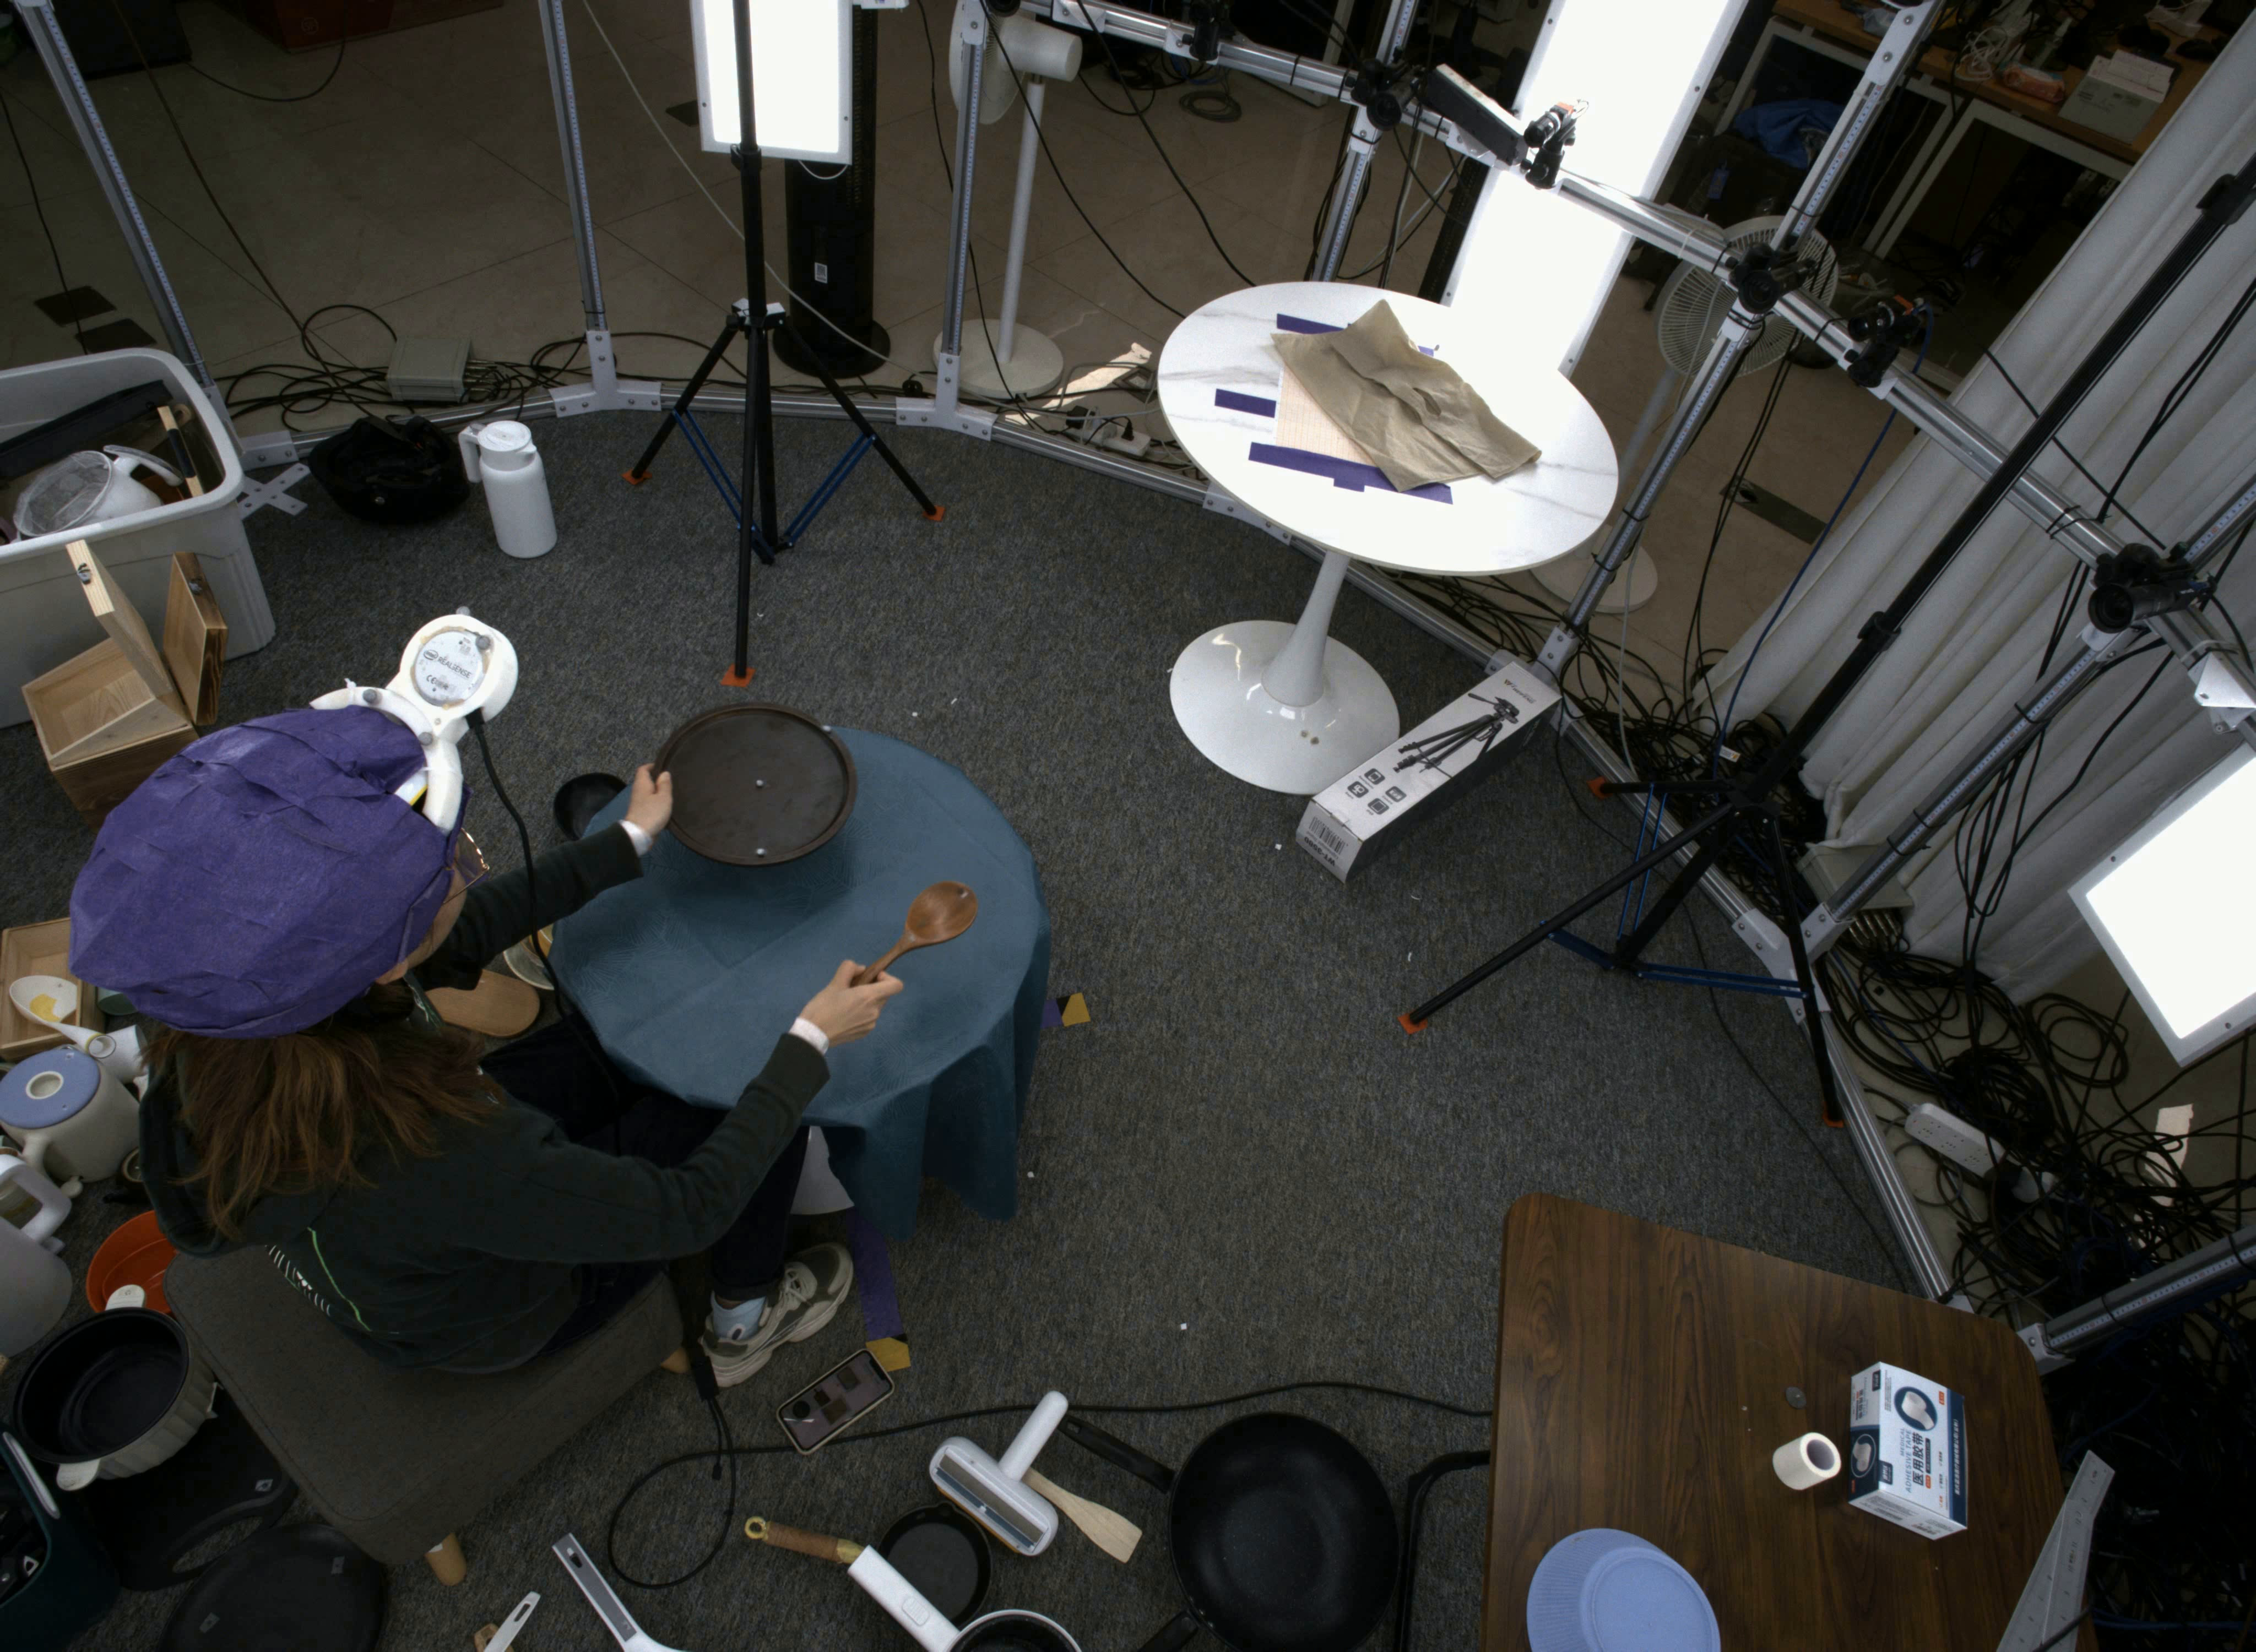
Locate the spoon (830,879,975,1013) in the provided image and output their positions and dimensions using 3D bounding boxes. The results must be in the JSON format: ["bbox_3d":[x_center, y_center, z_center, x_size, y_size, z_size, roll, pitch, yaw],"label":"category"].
[{"bbox_3d":[-0.265,0.139,1.522,0.074,0.017,0.216,39,60,14],"label":"spoon"}]

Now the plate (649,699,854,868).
[{"bbox_3d":[-0.473,-0.055,1.627,0.255,0.029,0.250,9,55,-11],"label":"plate"}]
